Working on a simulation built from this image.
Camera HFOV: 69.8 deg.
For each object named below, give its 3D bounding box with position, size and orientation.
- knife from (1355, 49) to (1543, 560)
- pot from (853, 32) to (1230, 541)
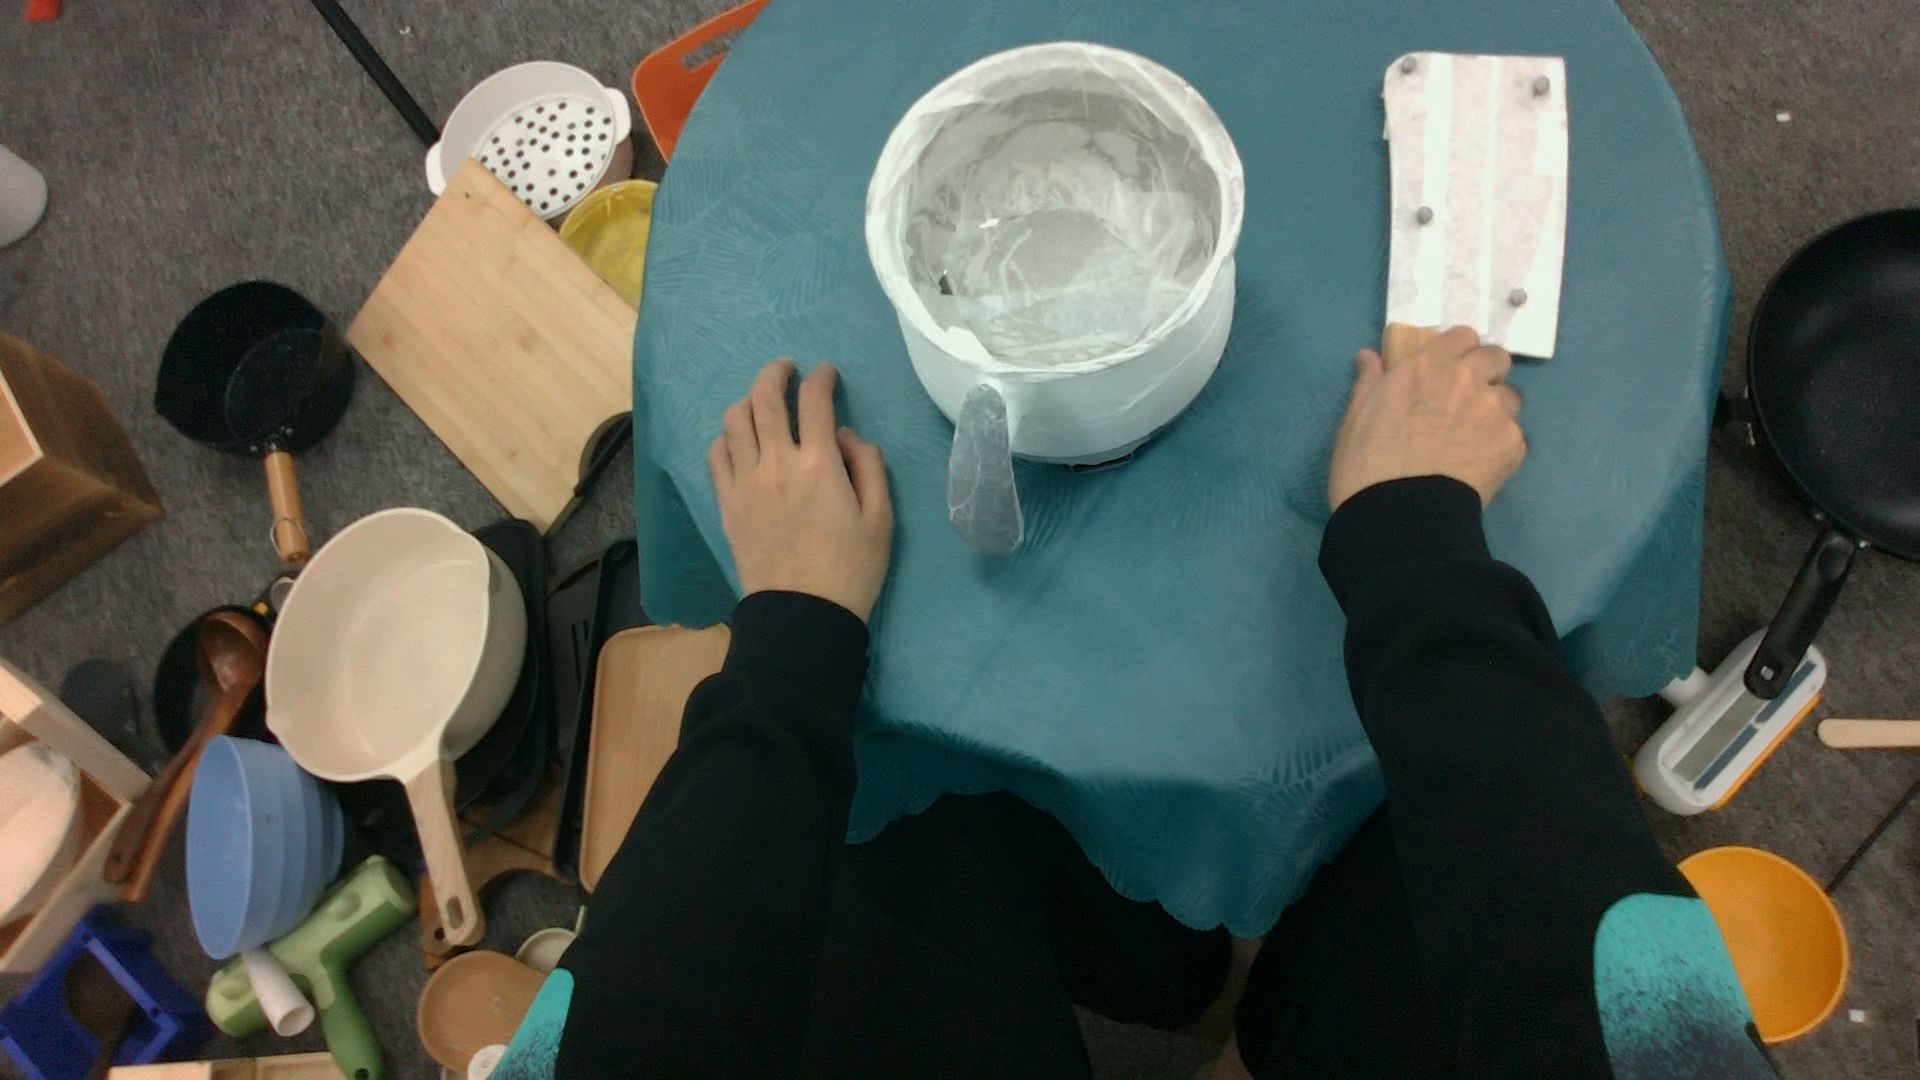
[{"bbox_3d":[0.254,-0.138,0.735,0.114,0.021,0.316,11,72,5],"label":"knife"},{"bbox_3d":[0.037,-0.120,0.696,0.178,0.136,0.234,14,74,12],"label":"pot"}]
